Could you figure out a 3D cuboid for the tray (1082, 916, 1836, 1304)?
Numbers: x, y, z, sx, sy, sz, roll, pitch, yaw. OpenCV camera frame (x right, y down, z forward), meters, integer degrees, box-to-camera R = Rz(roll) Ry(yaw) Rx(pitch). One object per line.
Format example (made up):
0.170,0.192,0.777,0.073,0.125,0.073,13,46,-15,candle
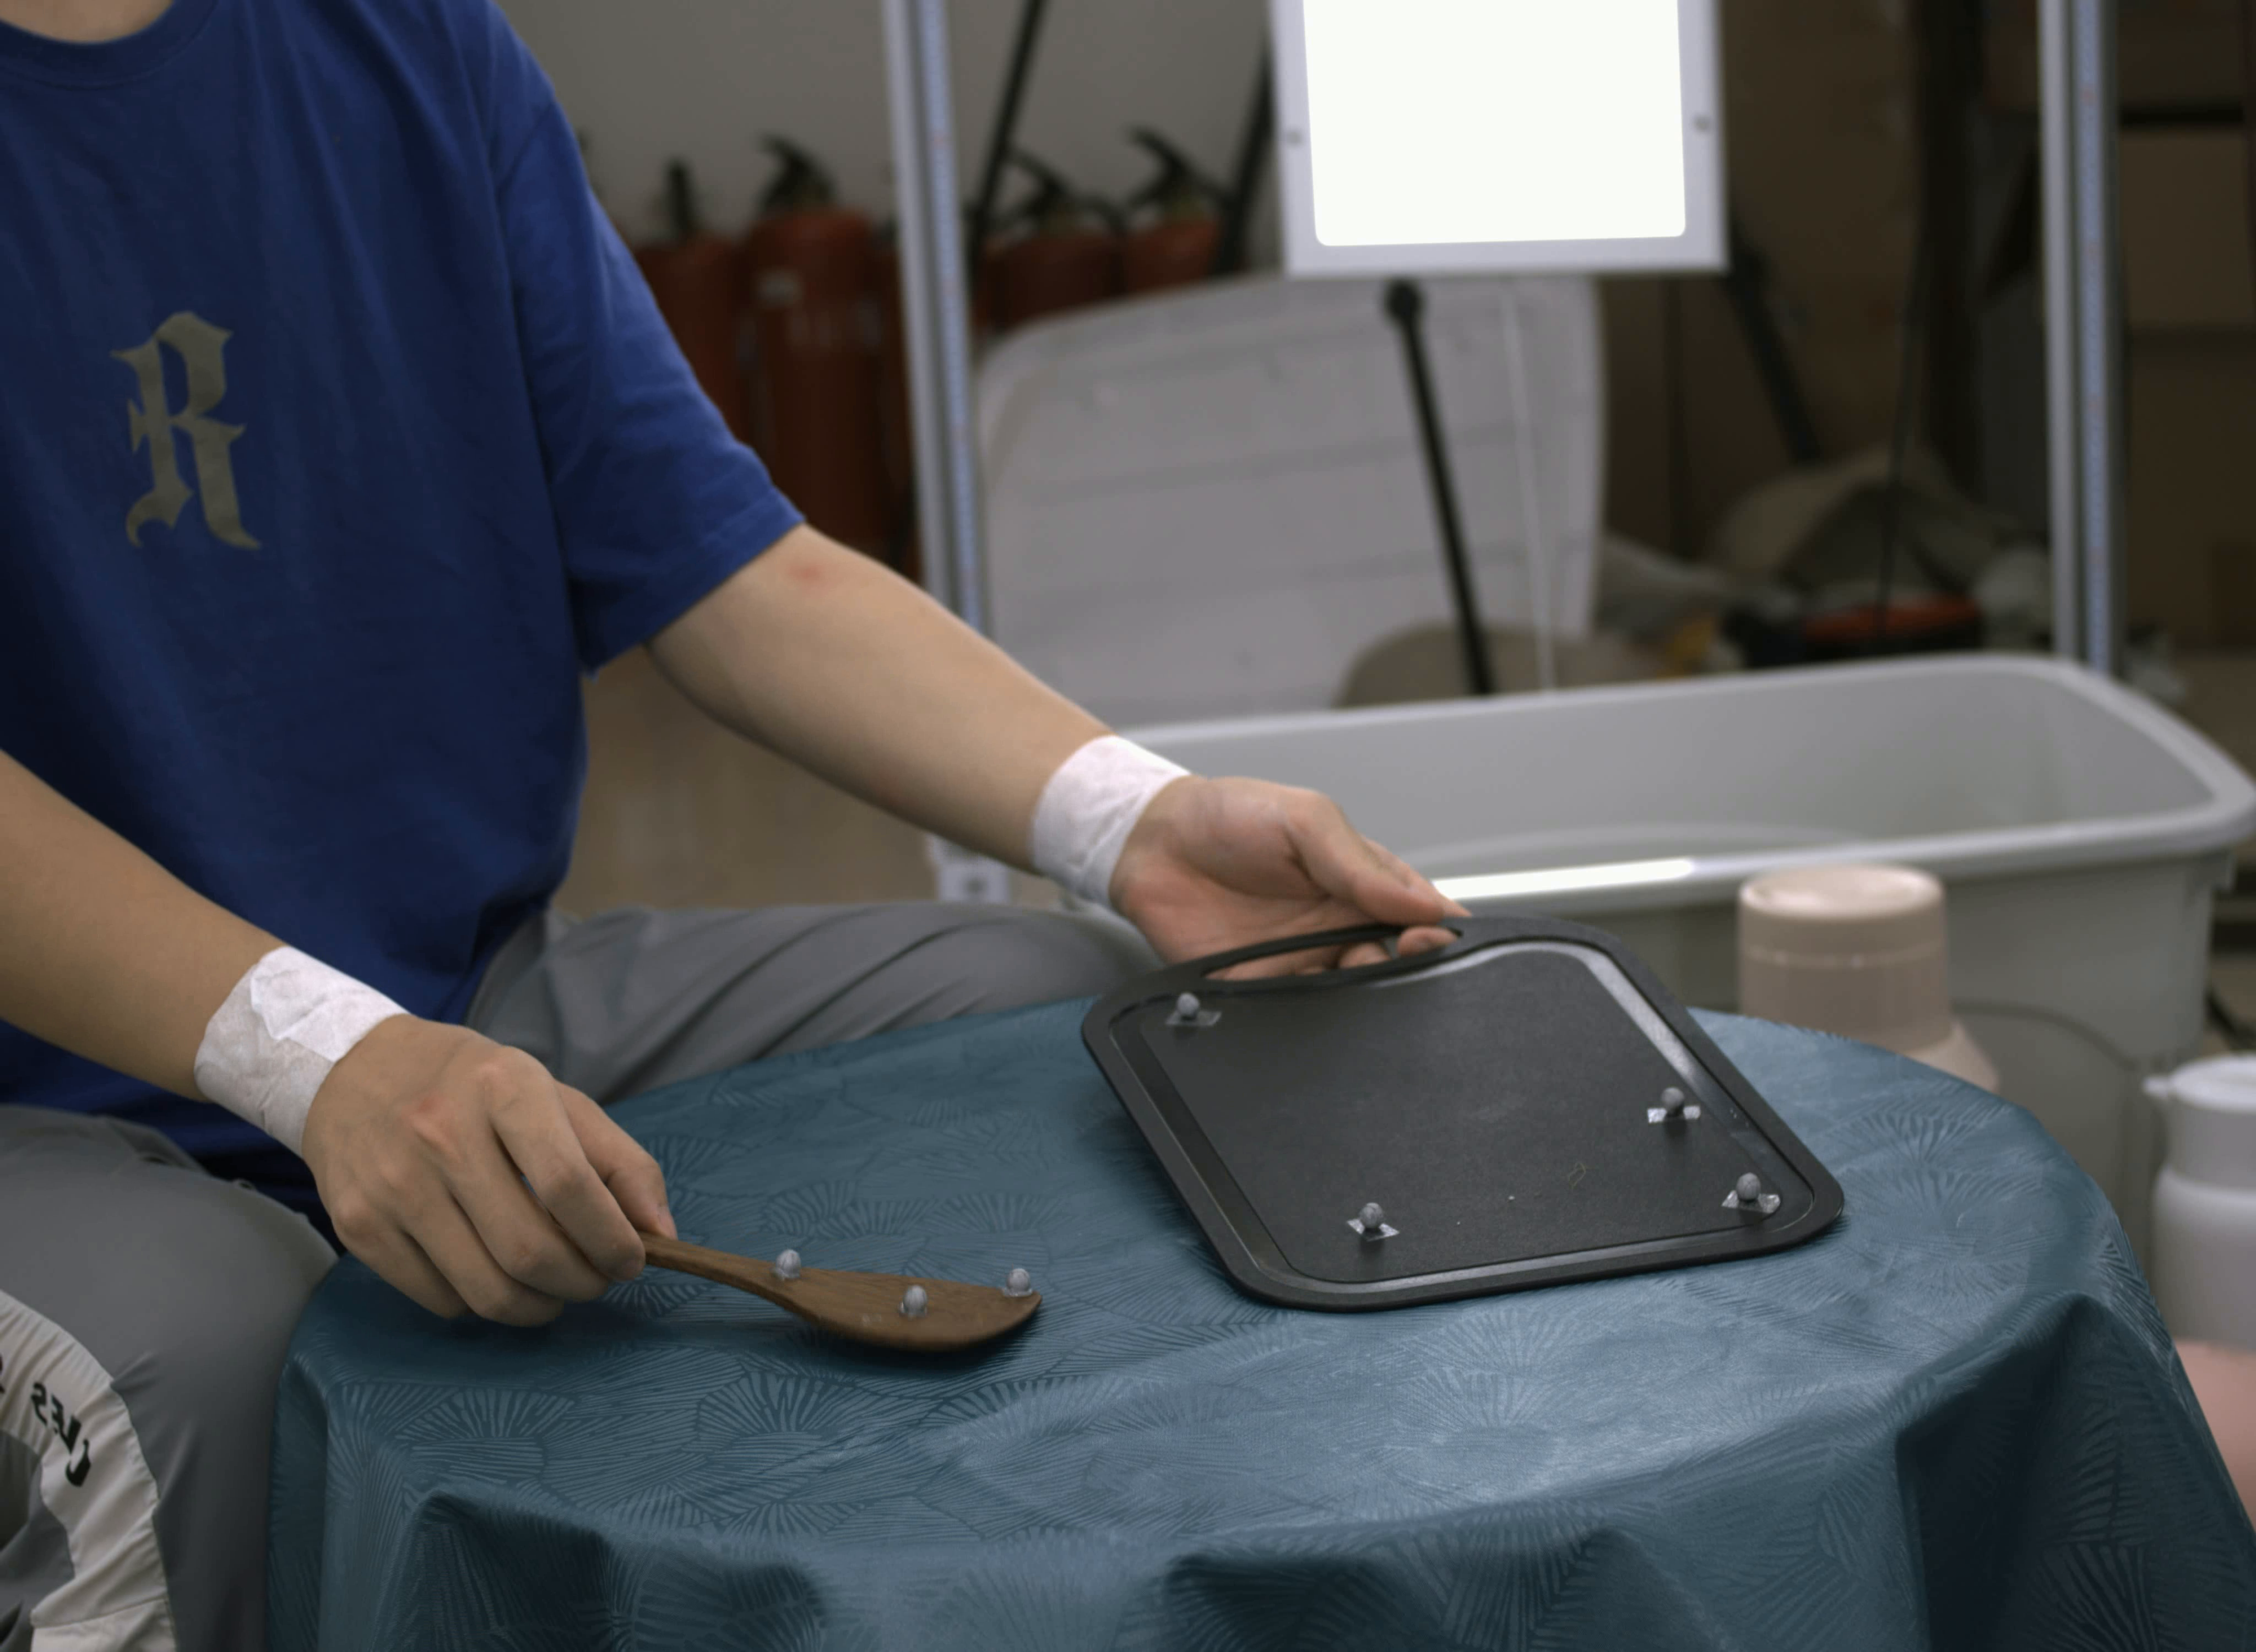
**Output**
0.106,0.091,1.912,0.209,0.010,0.327,-8,21,-10,tray

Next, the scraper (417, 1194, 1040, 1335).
-0.133,0.142,1.793,0.214,0.011,0.074,10,7,20,scraper
